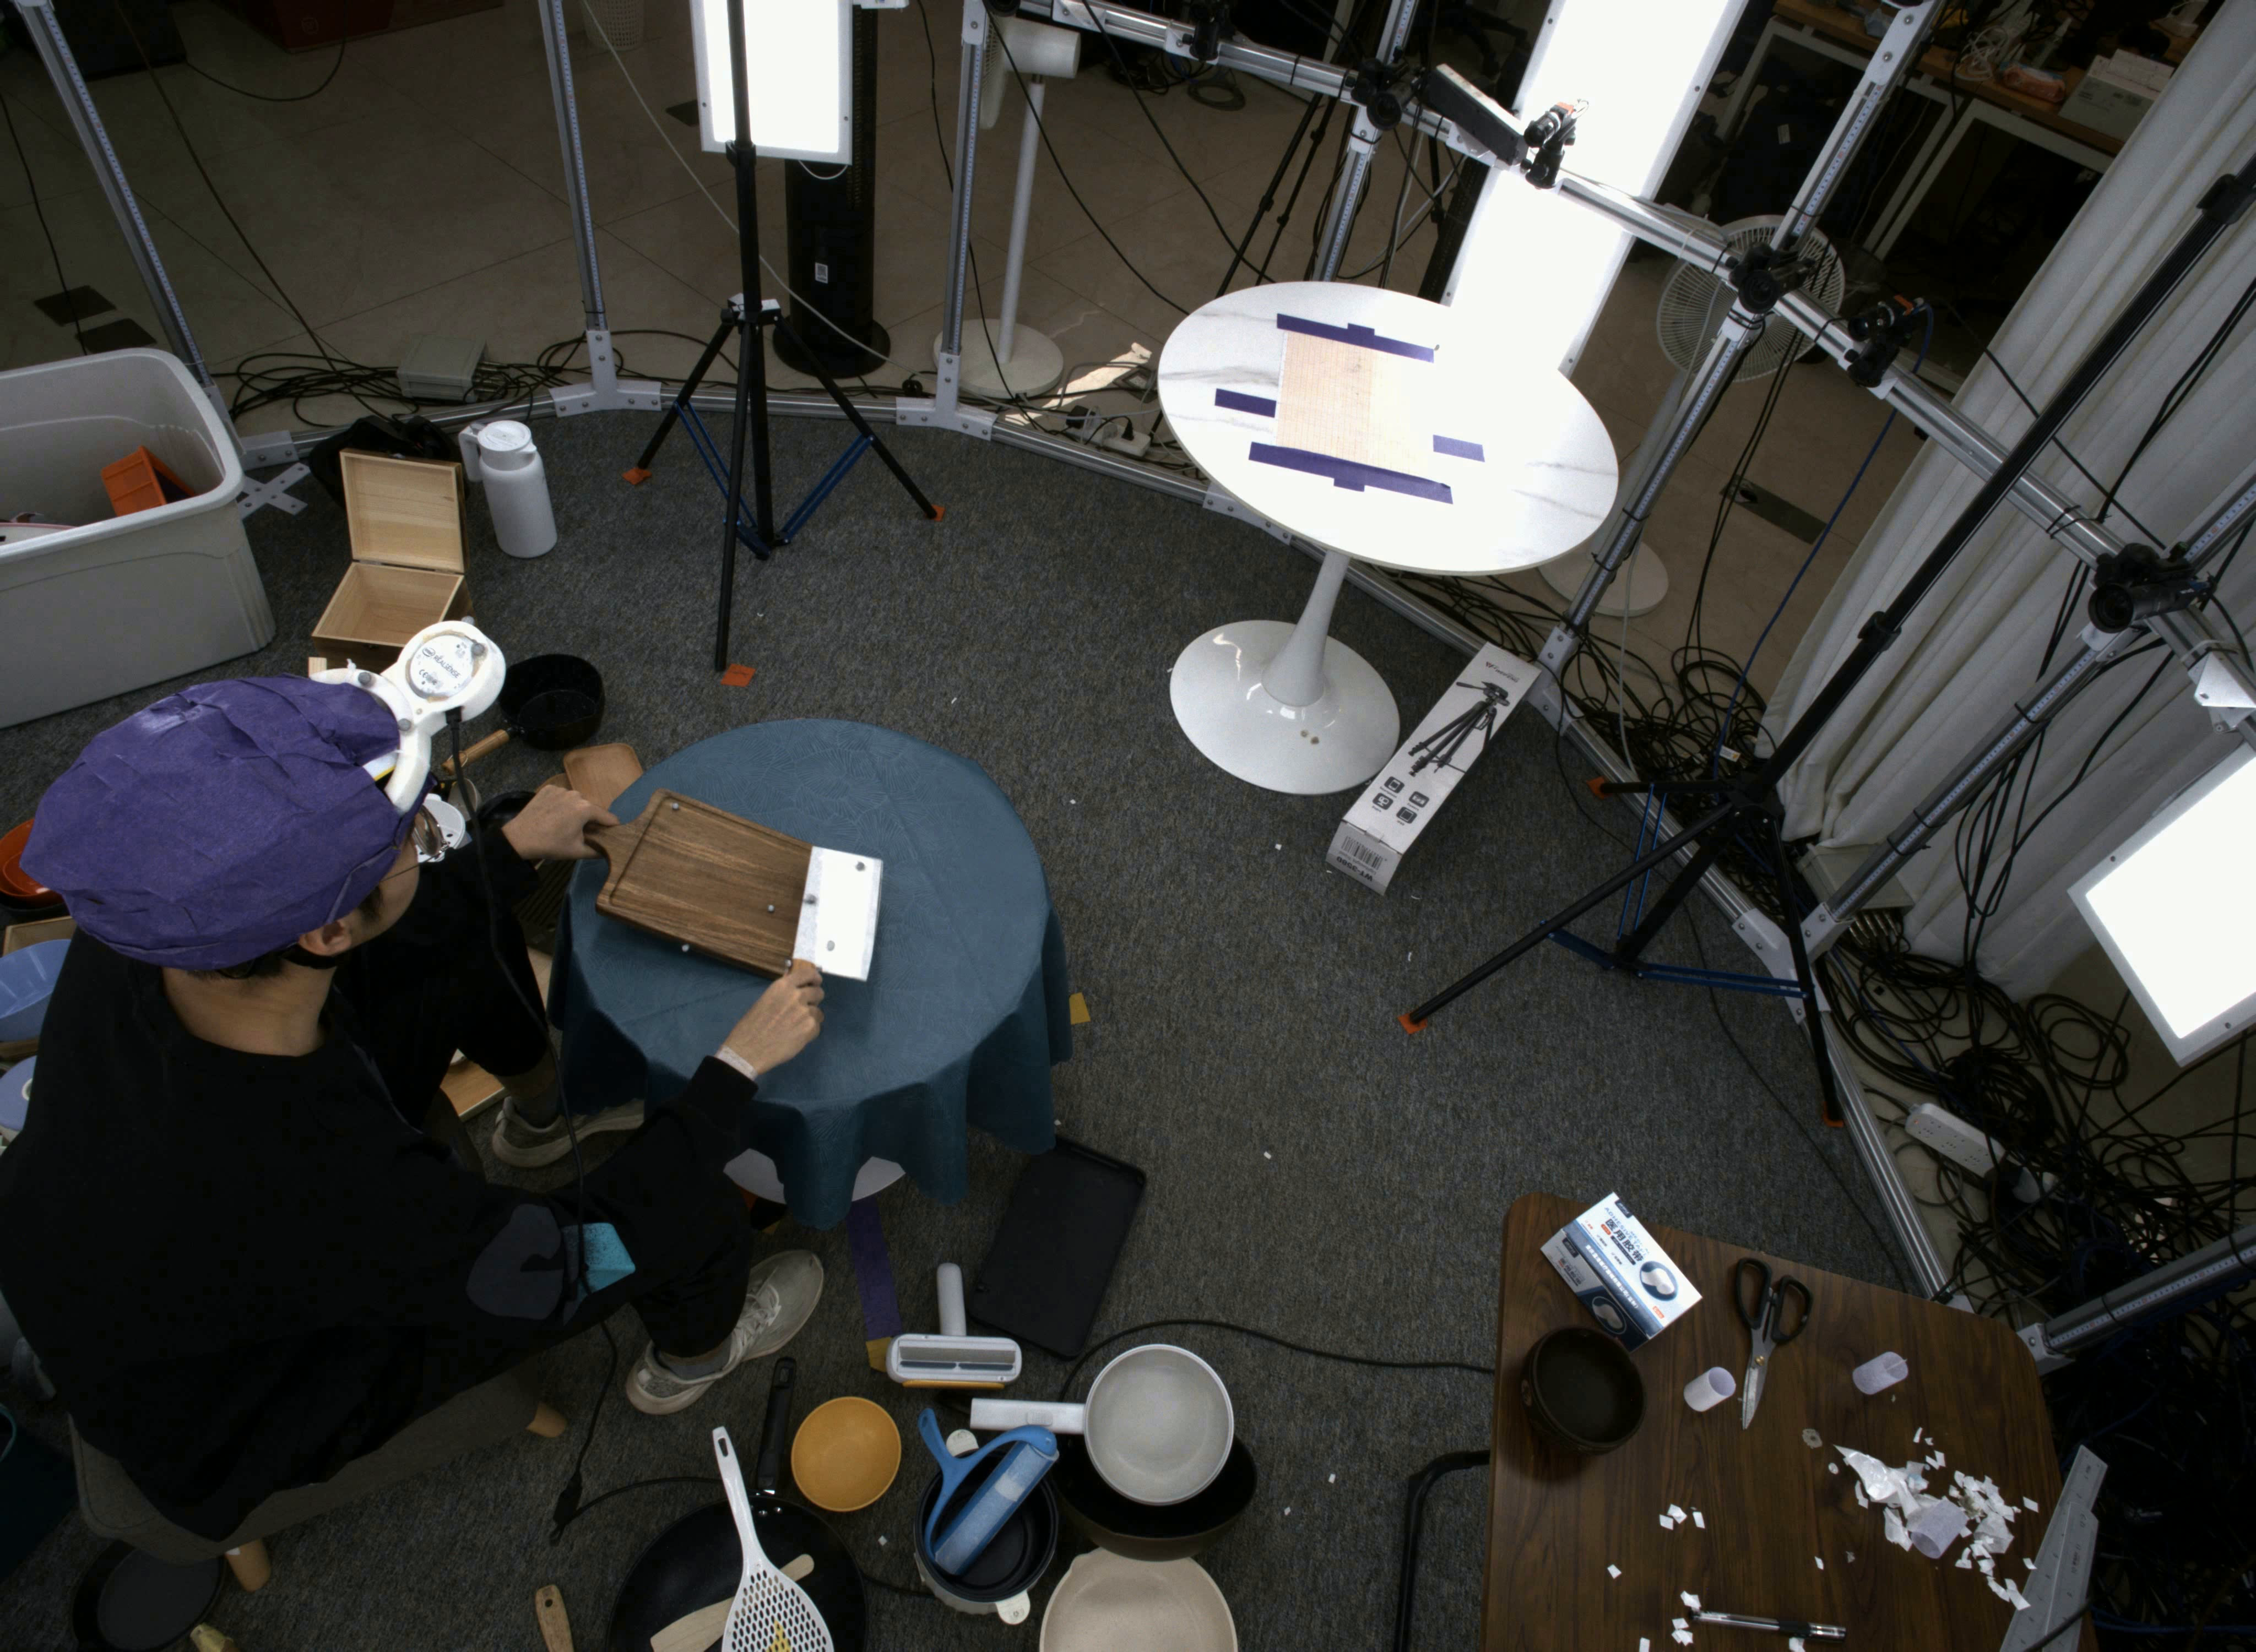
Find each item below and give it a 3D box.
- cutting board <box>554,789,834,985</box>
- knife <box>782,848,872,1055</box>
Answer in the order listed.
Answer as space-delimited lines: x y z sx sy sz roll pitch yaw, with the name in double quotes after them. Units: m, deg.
-0.547 0.053 1.583 0.355 0.023 0.198 22 50 -13 "cutting board"
-0.348 0.139 1.518 0.093 0.021 0.299 11 45 -16 "knife"
